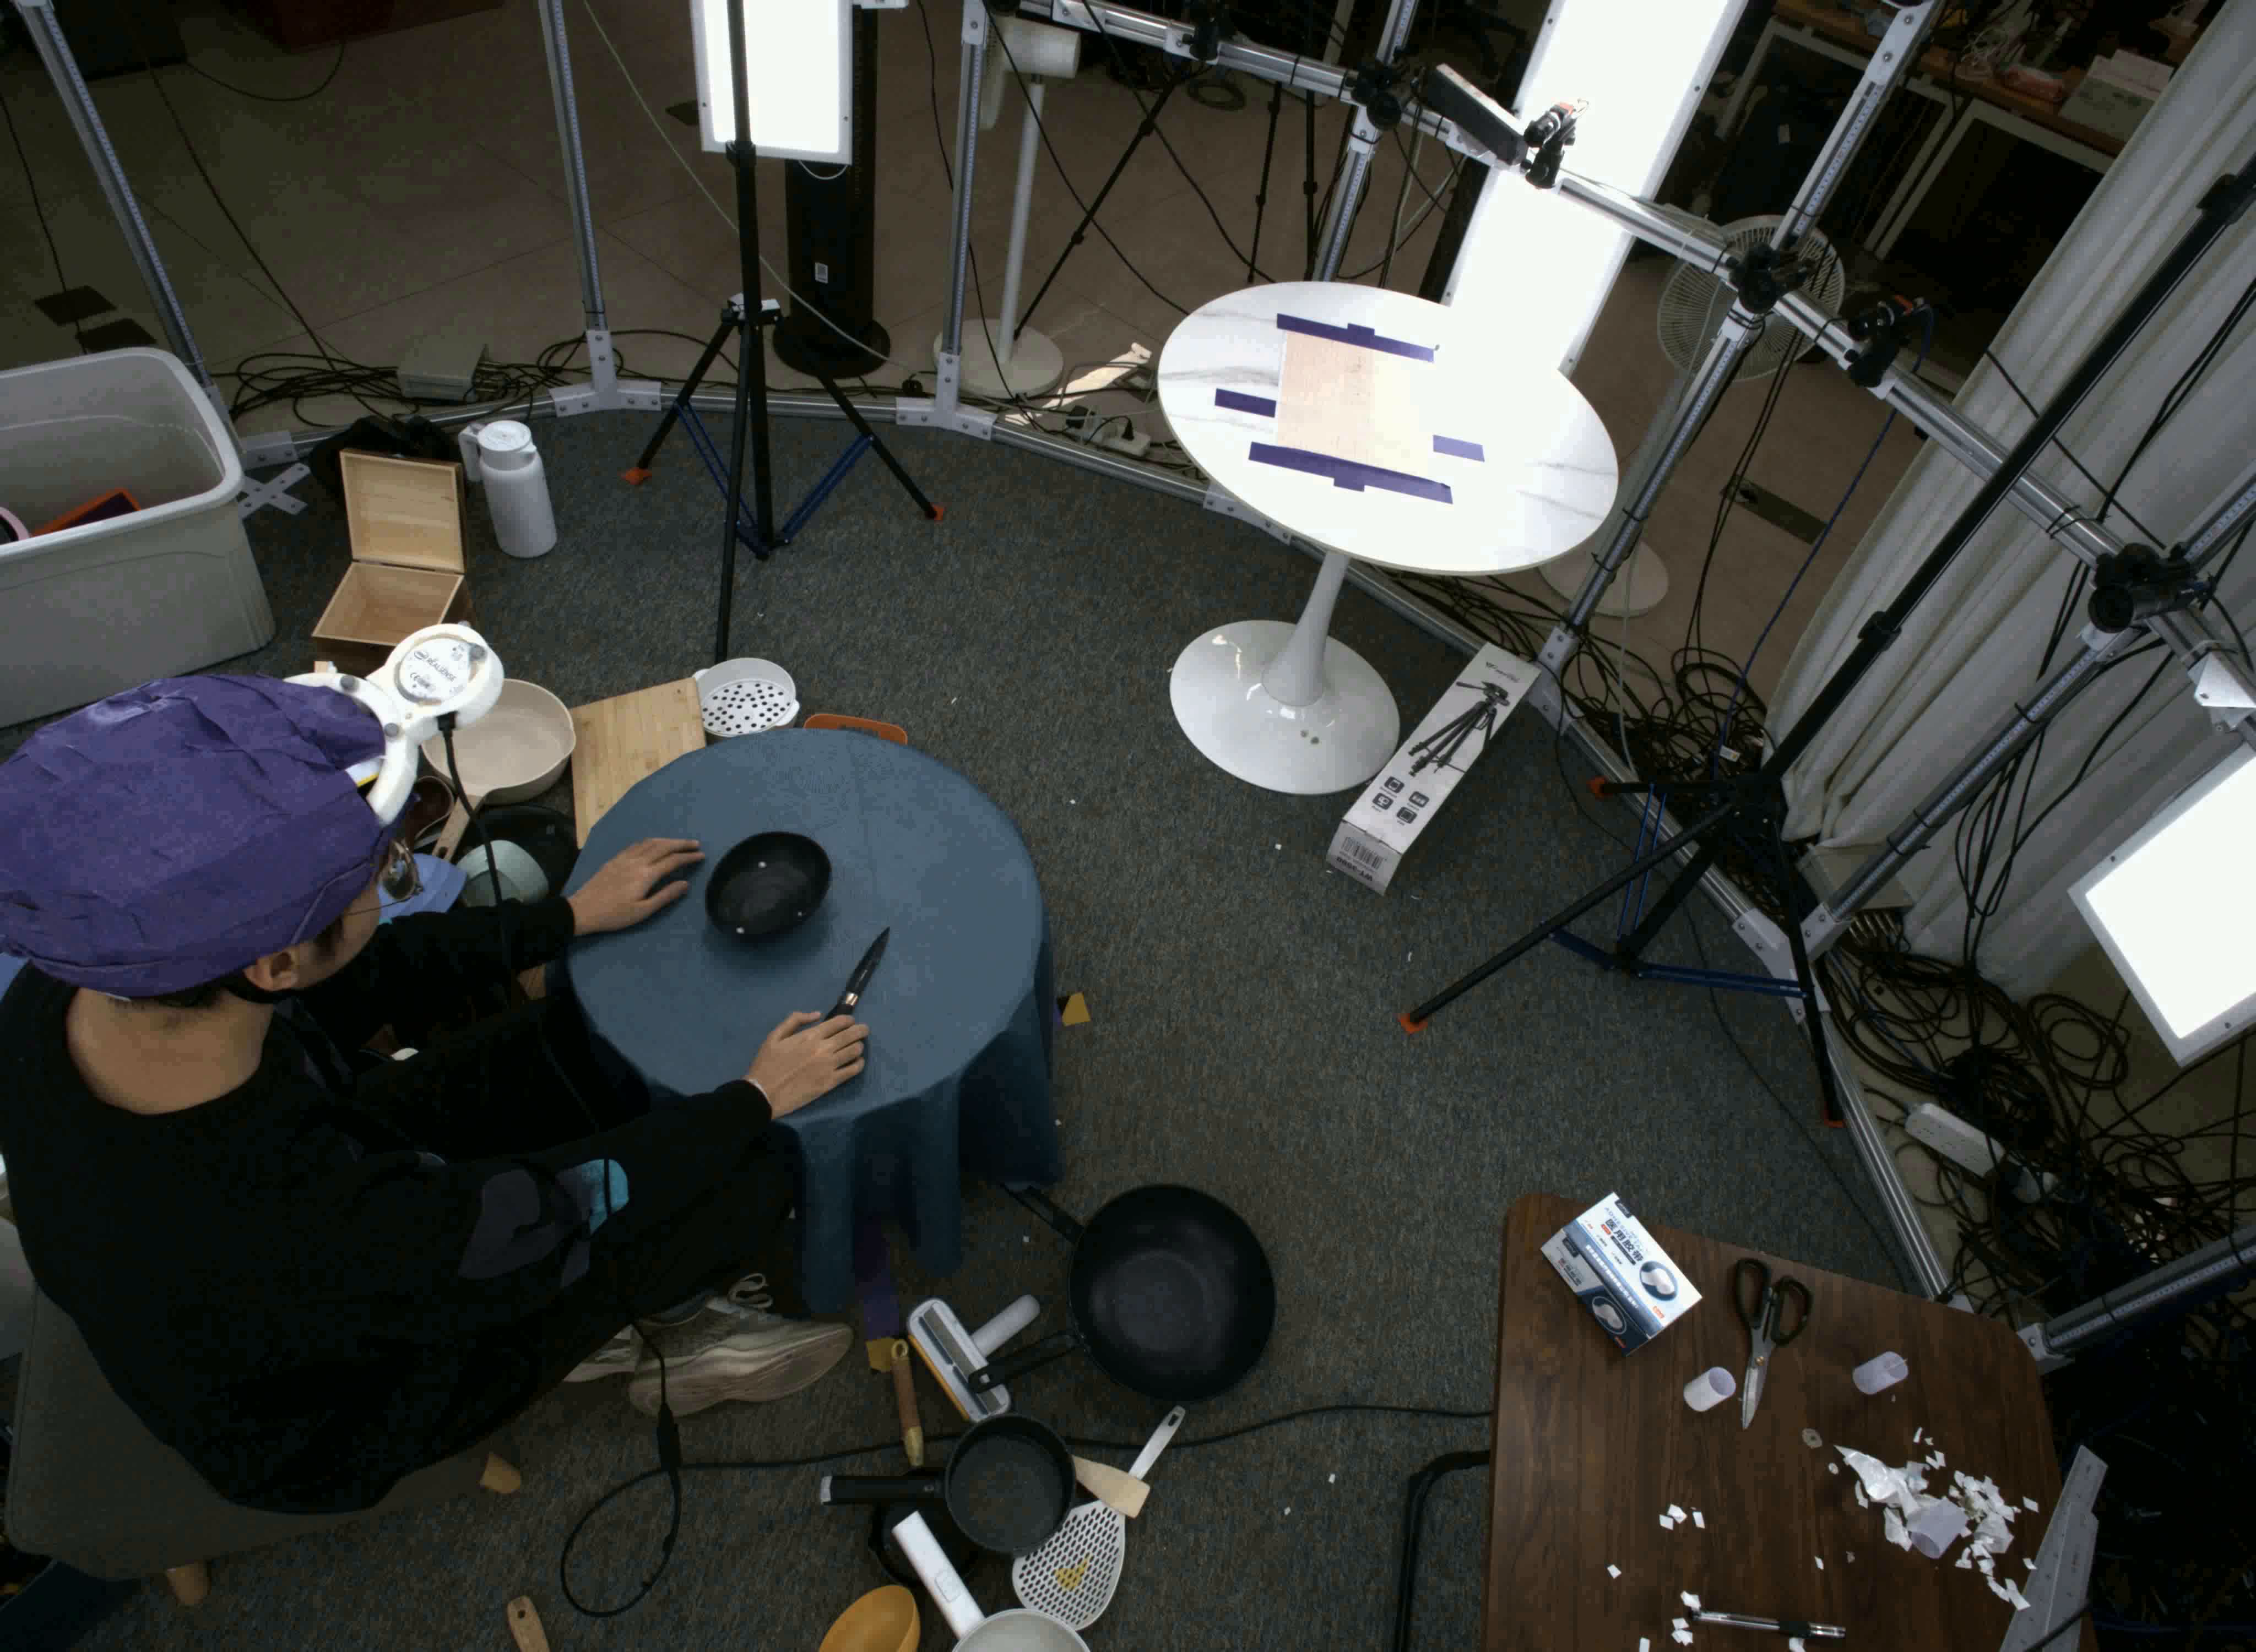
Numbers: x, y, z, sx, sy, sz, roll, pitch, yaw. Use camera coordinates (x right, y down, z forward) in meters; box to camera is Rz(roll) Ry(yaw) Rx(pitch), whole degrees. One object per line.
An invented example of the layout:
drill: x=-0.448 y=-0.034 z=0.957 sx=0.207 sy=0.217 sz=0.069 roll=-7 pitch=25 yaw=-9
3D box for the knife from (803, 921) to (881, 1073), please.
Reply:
knife: x=-0.341 y=0.201 z=1.578 sx=0.026 sy=0.017 sz=0.223 roll=21 pitch=50 yaw=0

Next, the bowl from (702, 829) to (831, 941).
bowl: x=-0.445 y=0.083 z=1.604 sx=0.134 sy=0.068 sz=0.170 roll=35 pitch=55 yaw=13
